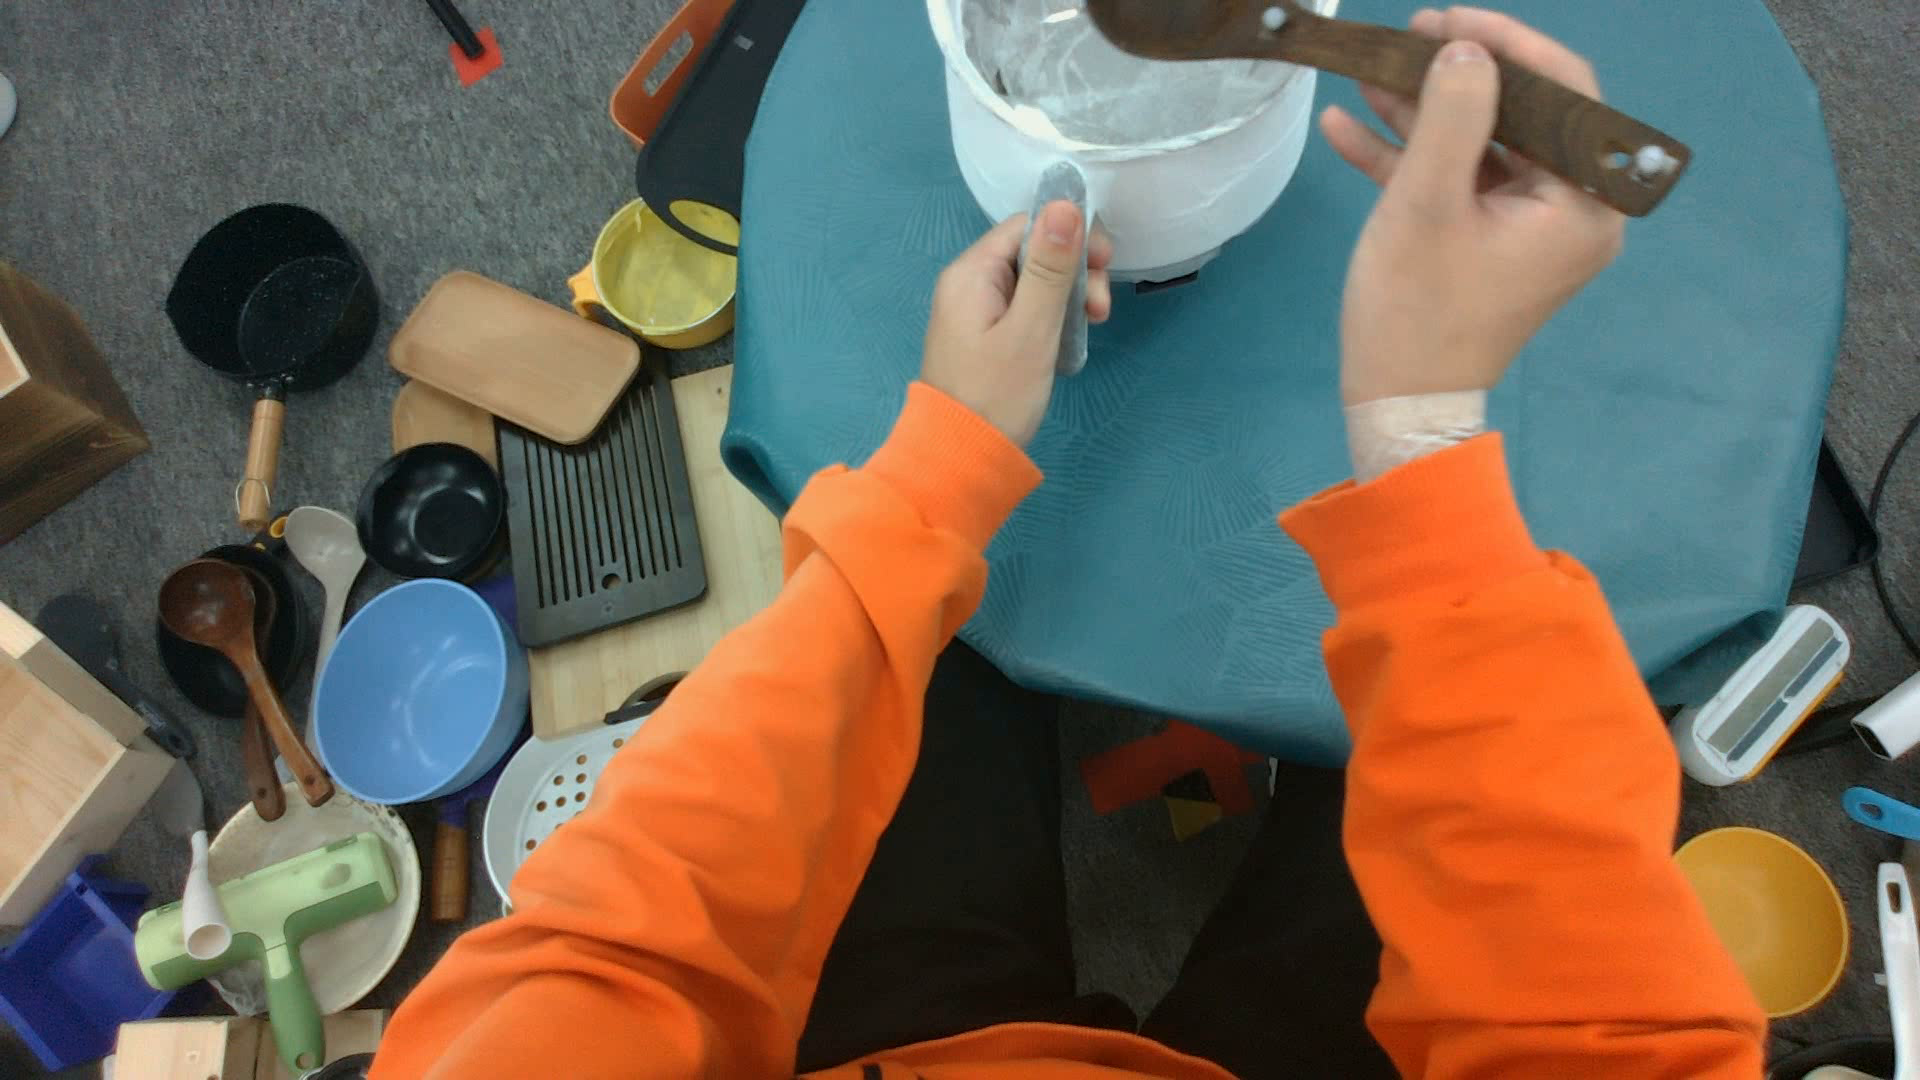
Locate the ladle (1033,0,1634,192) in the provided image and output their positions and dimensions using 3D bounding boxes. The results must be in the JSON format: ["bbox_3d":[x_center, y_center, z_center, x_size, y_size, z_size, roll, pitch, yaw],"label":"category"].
[{"bbox_3d":[0.117,-0.190,0.506,0.076,0.071,0.274,-57,39,11],"label":"ladle"}]

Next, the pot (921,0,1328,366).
[{"bbox_3d":[0.067,-0.203,0.646,0.178,0.136,0.234,14,75,9],"label":"pot"}]
